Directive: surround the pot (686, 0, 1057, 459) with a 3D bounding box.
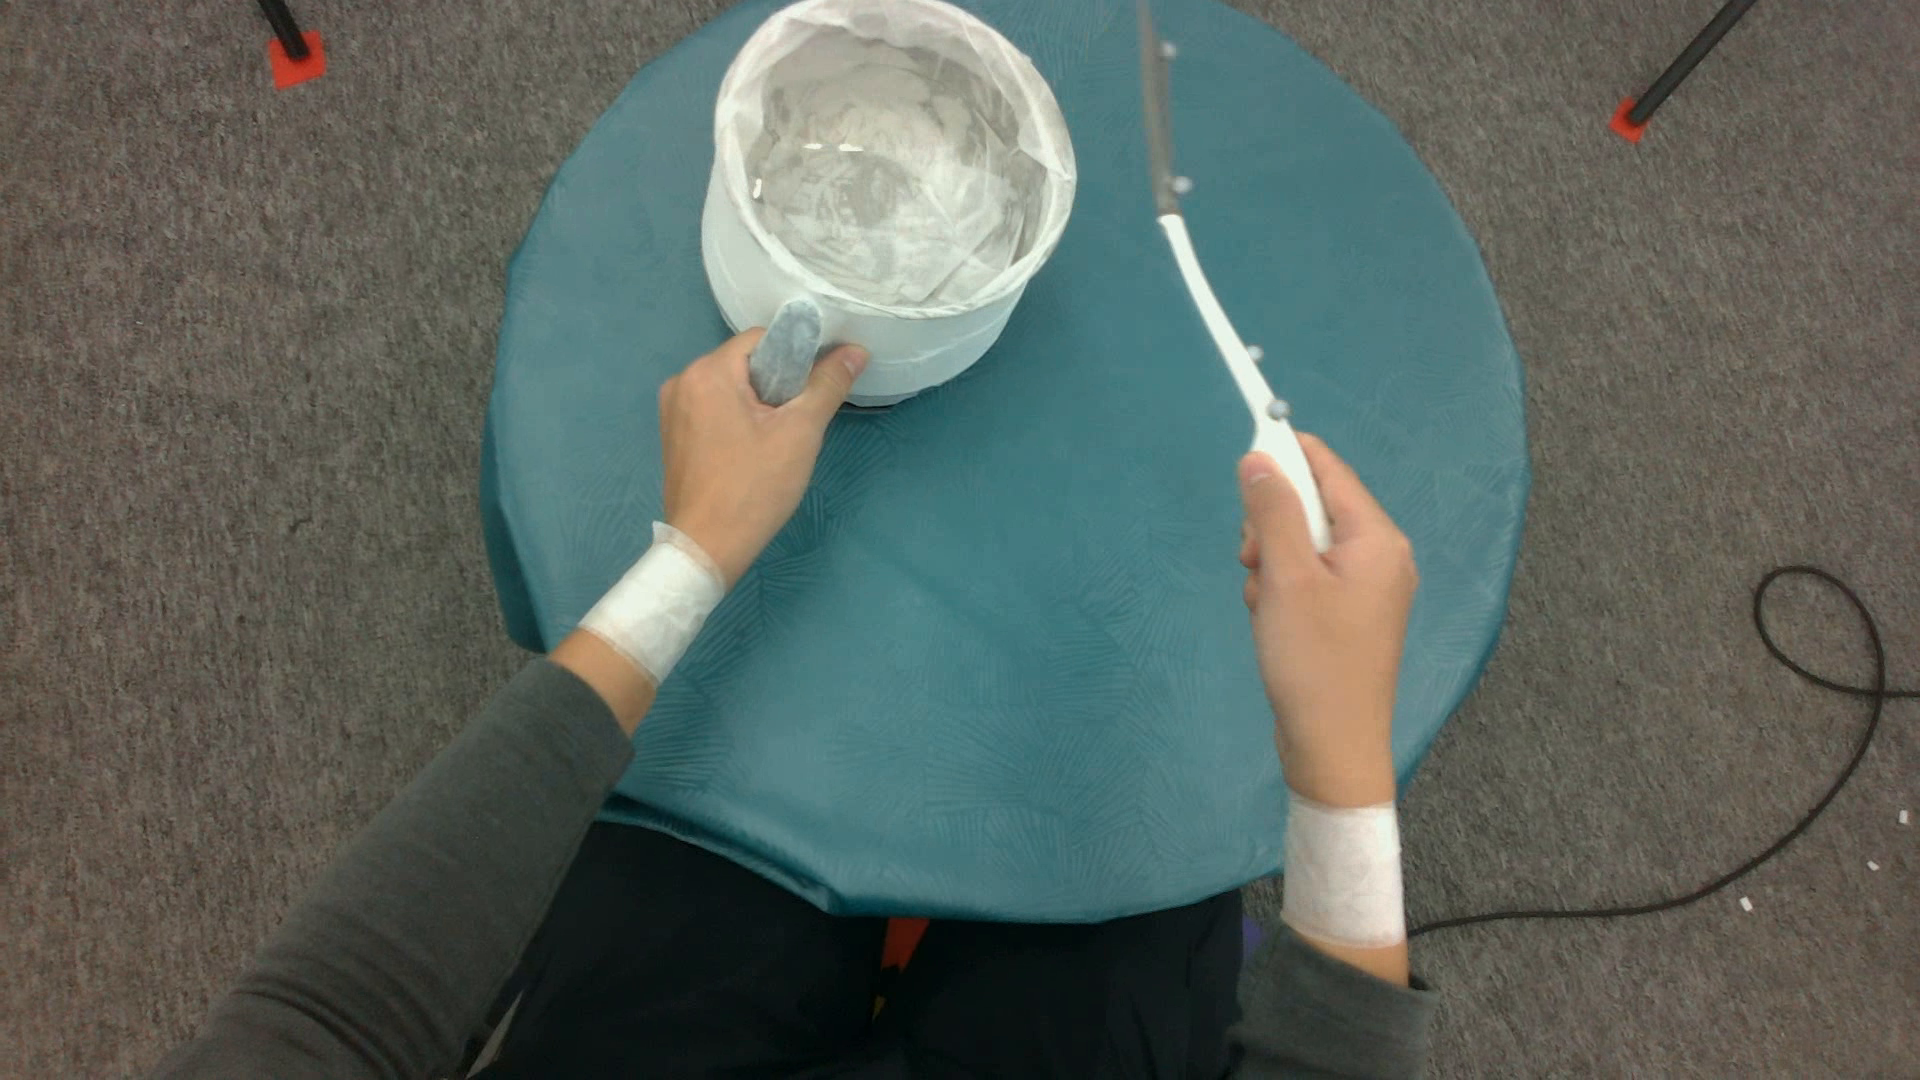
[{"bbox_3d":[-0.063,-0.154,0.713,0.179,0.136,0.234,27,69,-5],"label":"pot"}]

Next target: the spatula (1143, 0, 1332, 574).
[{"bbox_3d":[0.112,-0.123,0.626,0.032,0.058,0.288,-17,69,13],"label":"spatula"}]
